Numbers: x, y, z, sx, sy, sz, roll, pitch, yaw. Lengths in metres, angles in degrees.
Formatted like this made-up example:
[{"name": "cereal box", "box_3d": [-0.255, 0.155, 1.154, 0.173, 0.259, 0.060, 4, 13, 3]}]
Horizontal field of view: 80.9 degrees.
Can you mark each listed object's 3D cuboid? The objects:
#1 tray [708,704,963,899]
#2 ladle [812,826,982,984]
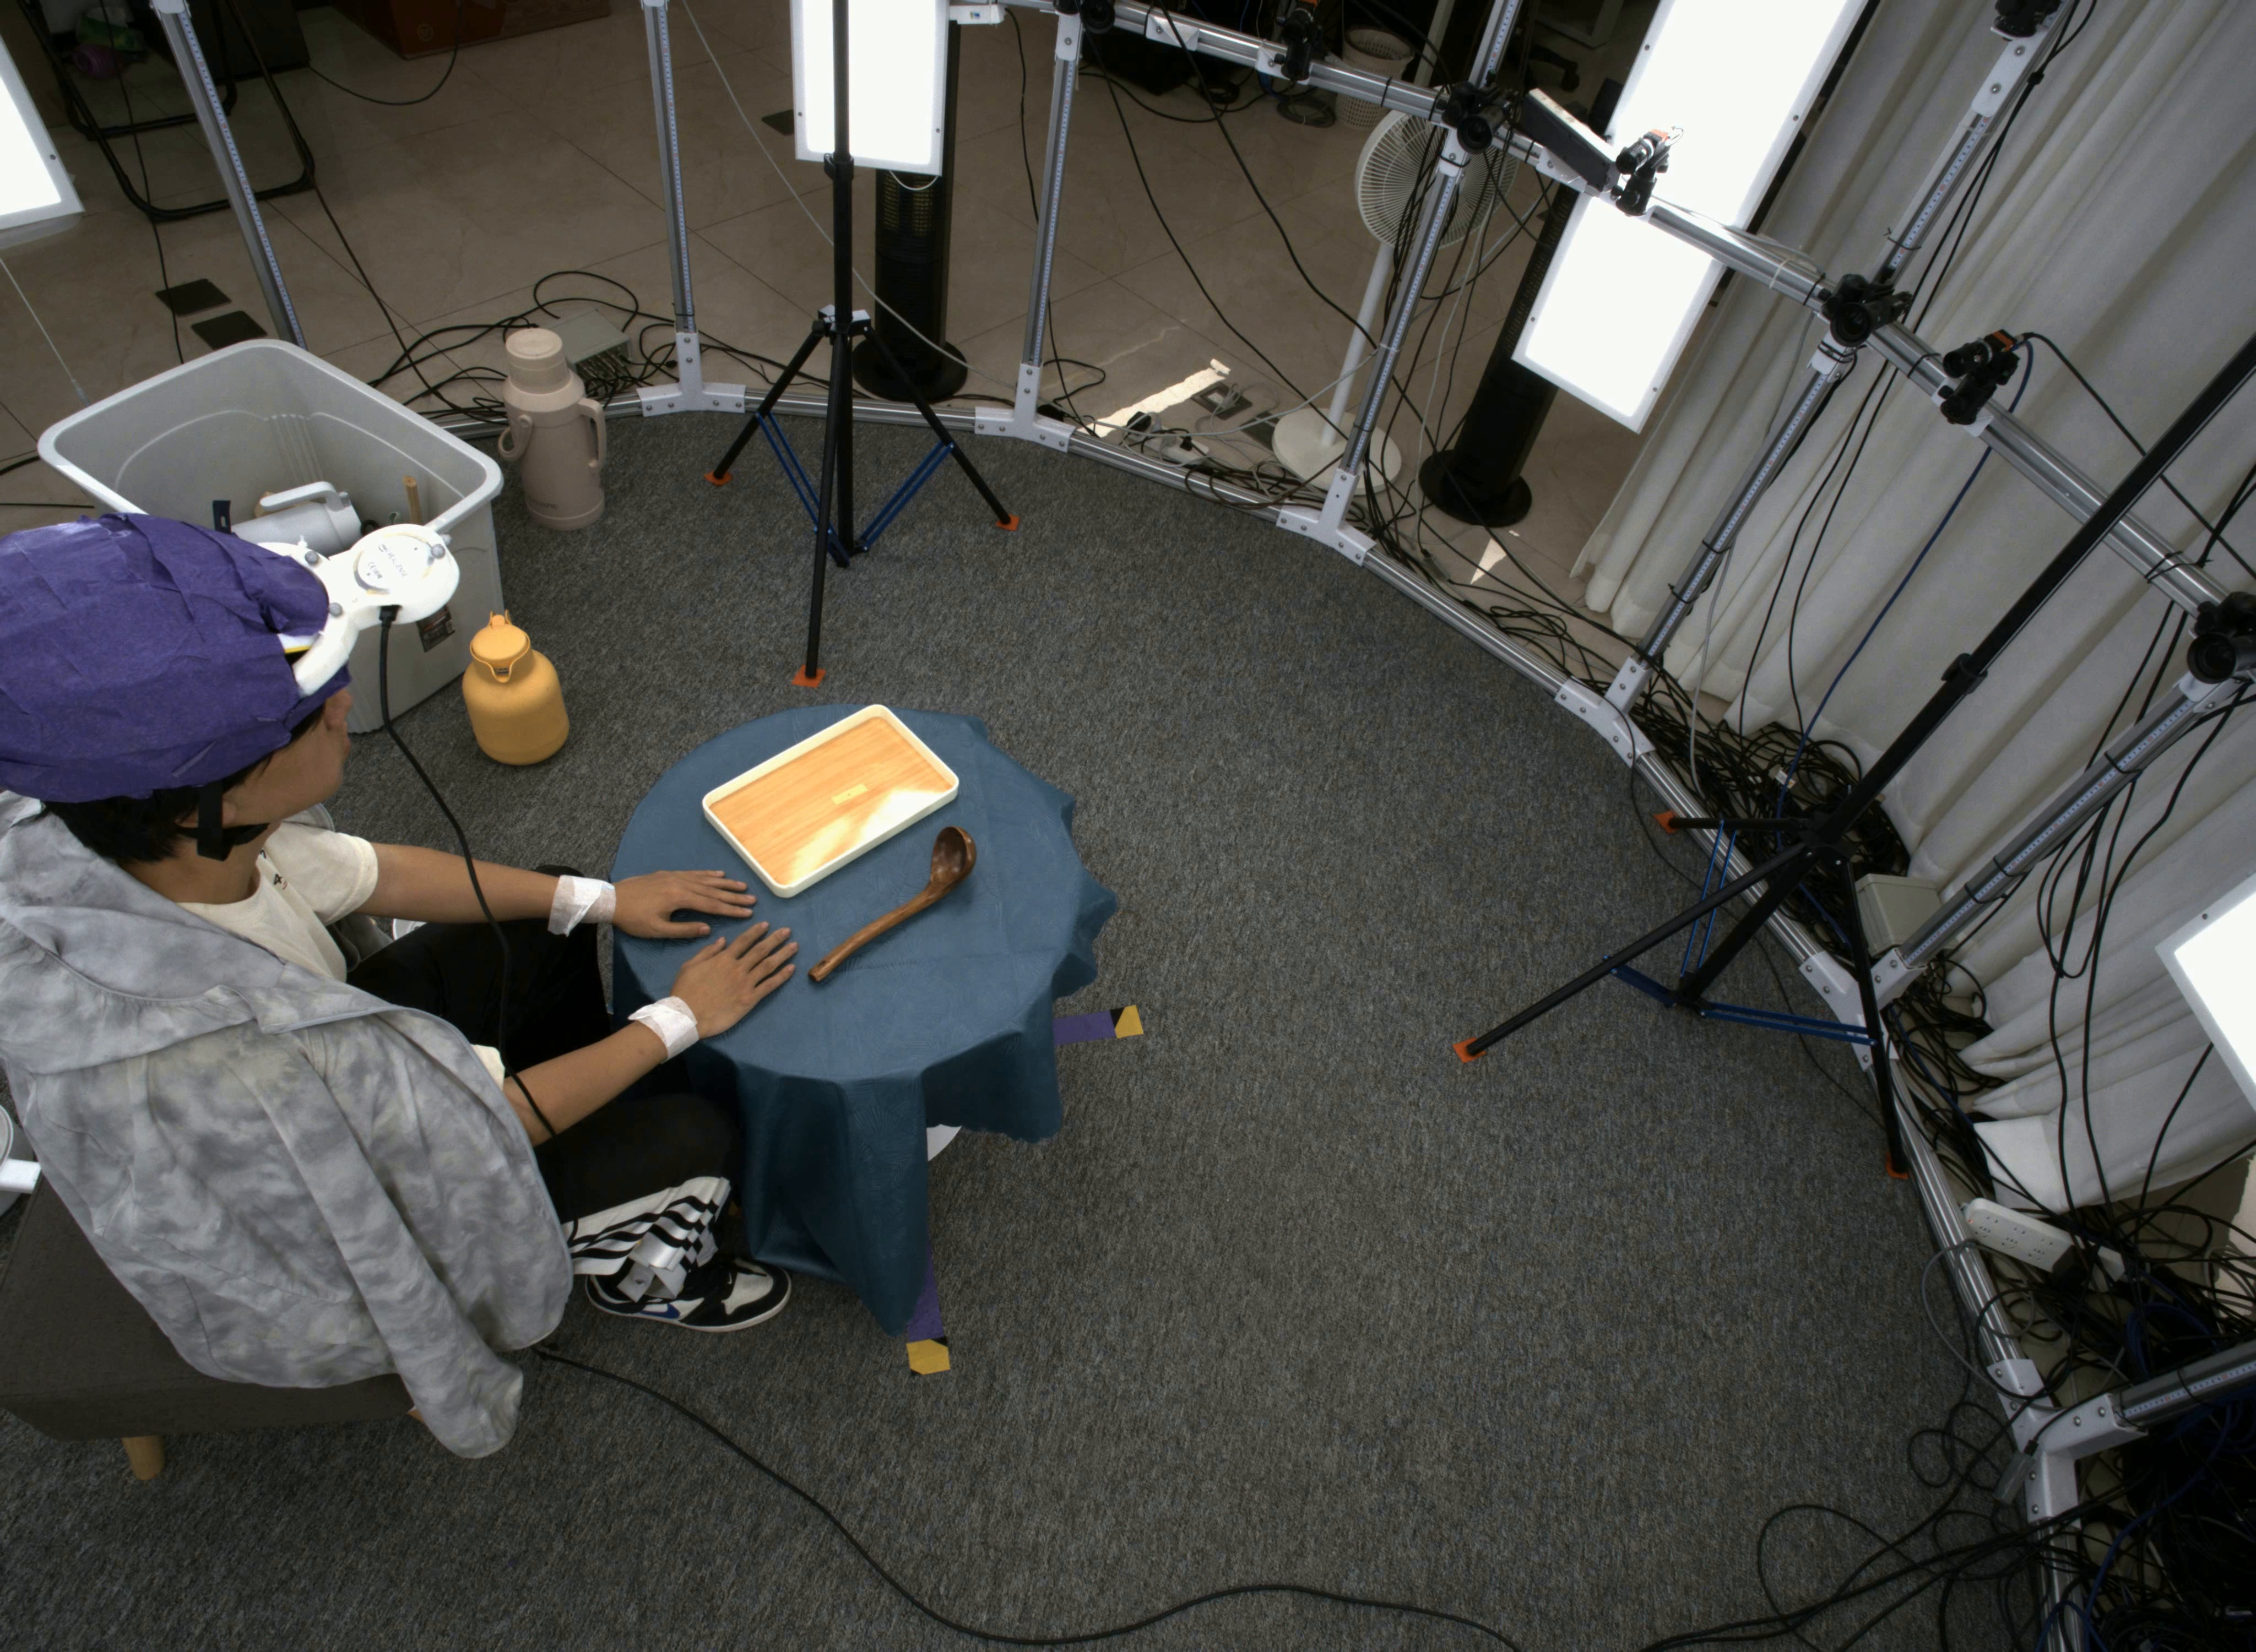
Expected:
[{"name": "tray", "box_3d": [-0.390, -0.040, 1.747, 0.301, 0.028, 0.187, -34, 68, -32]}, {"name": "ladle", "box_3d": [-0.295, 0.093, 1.644, 0.275, 0.079, 0.079, -34, 28, -31]}]
